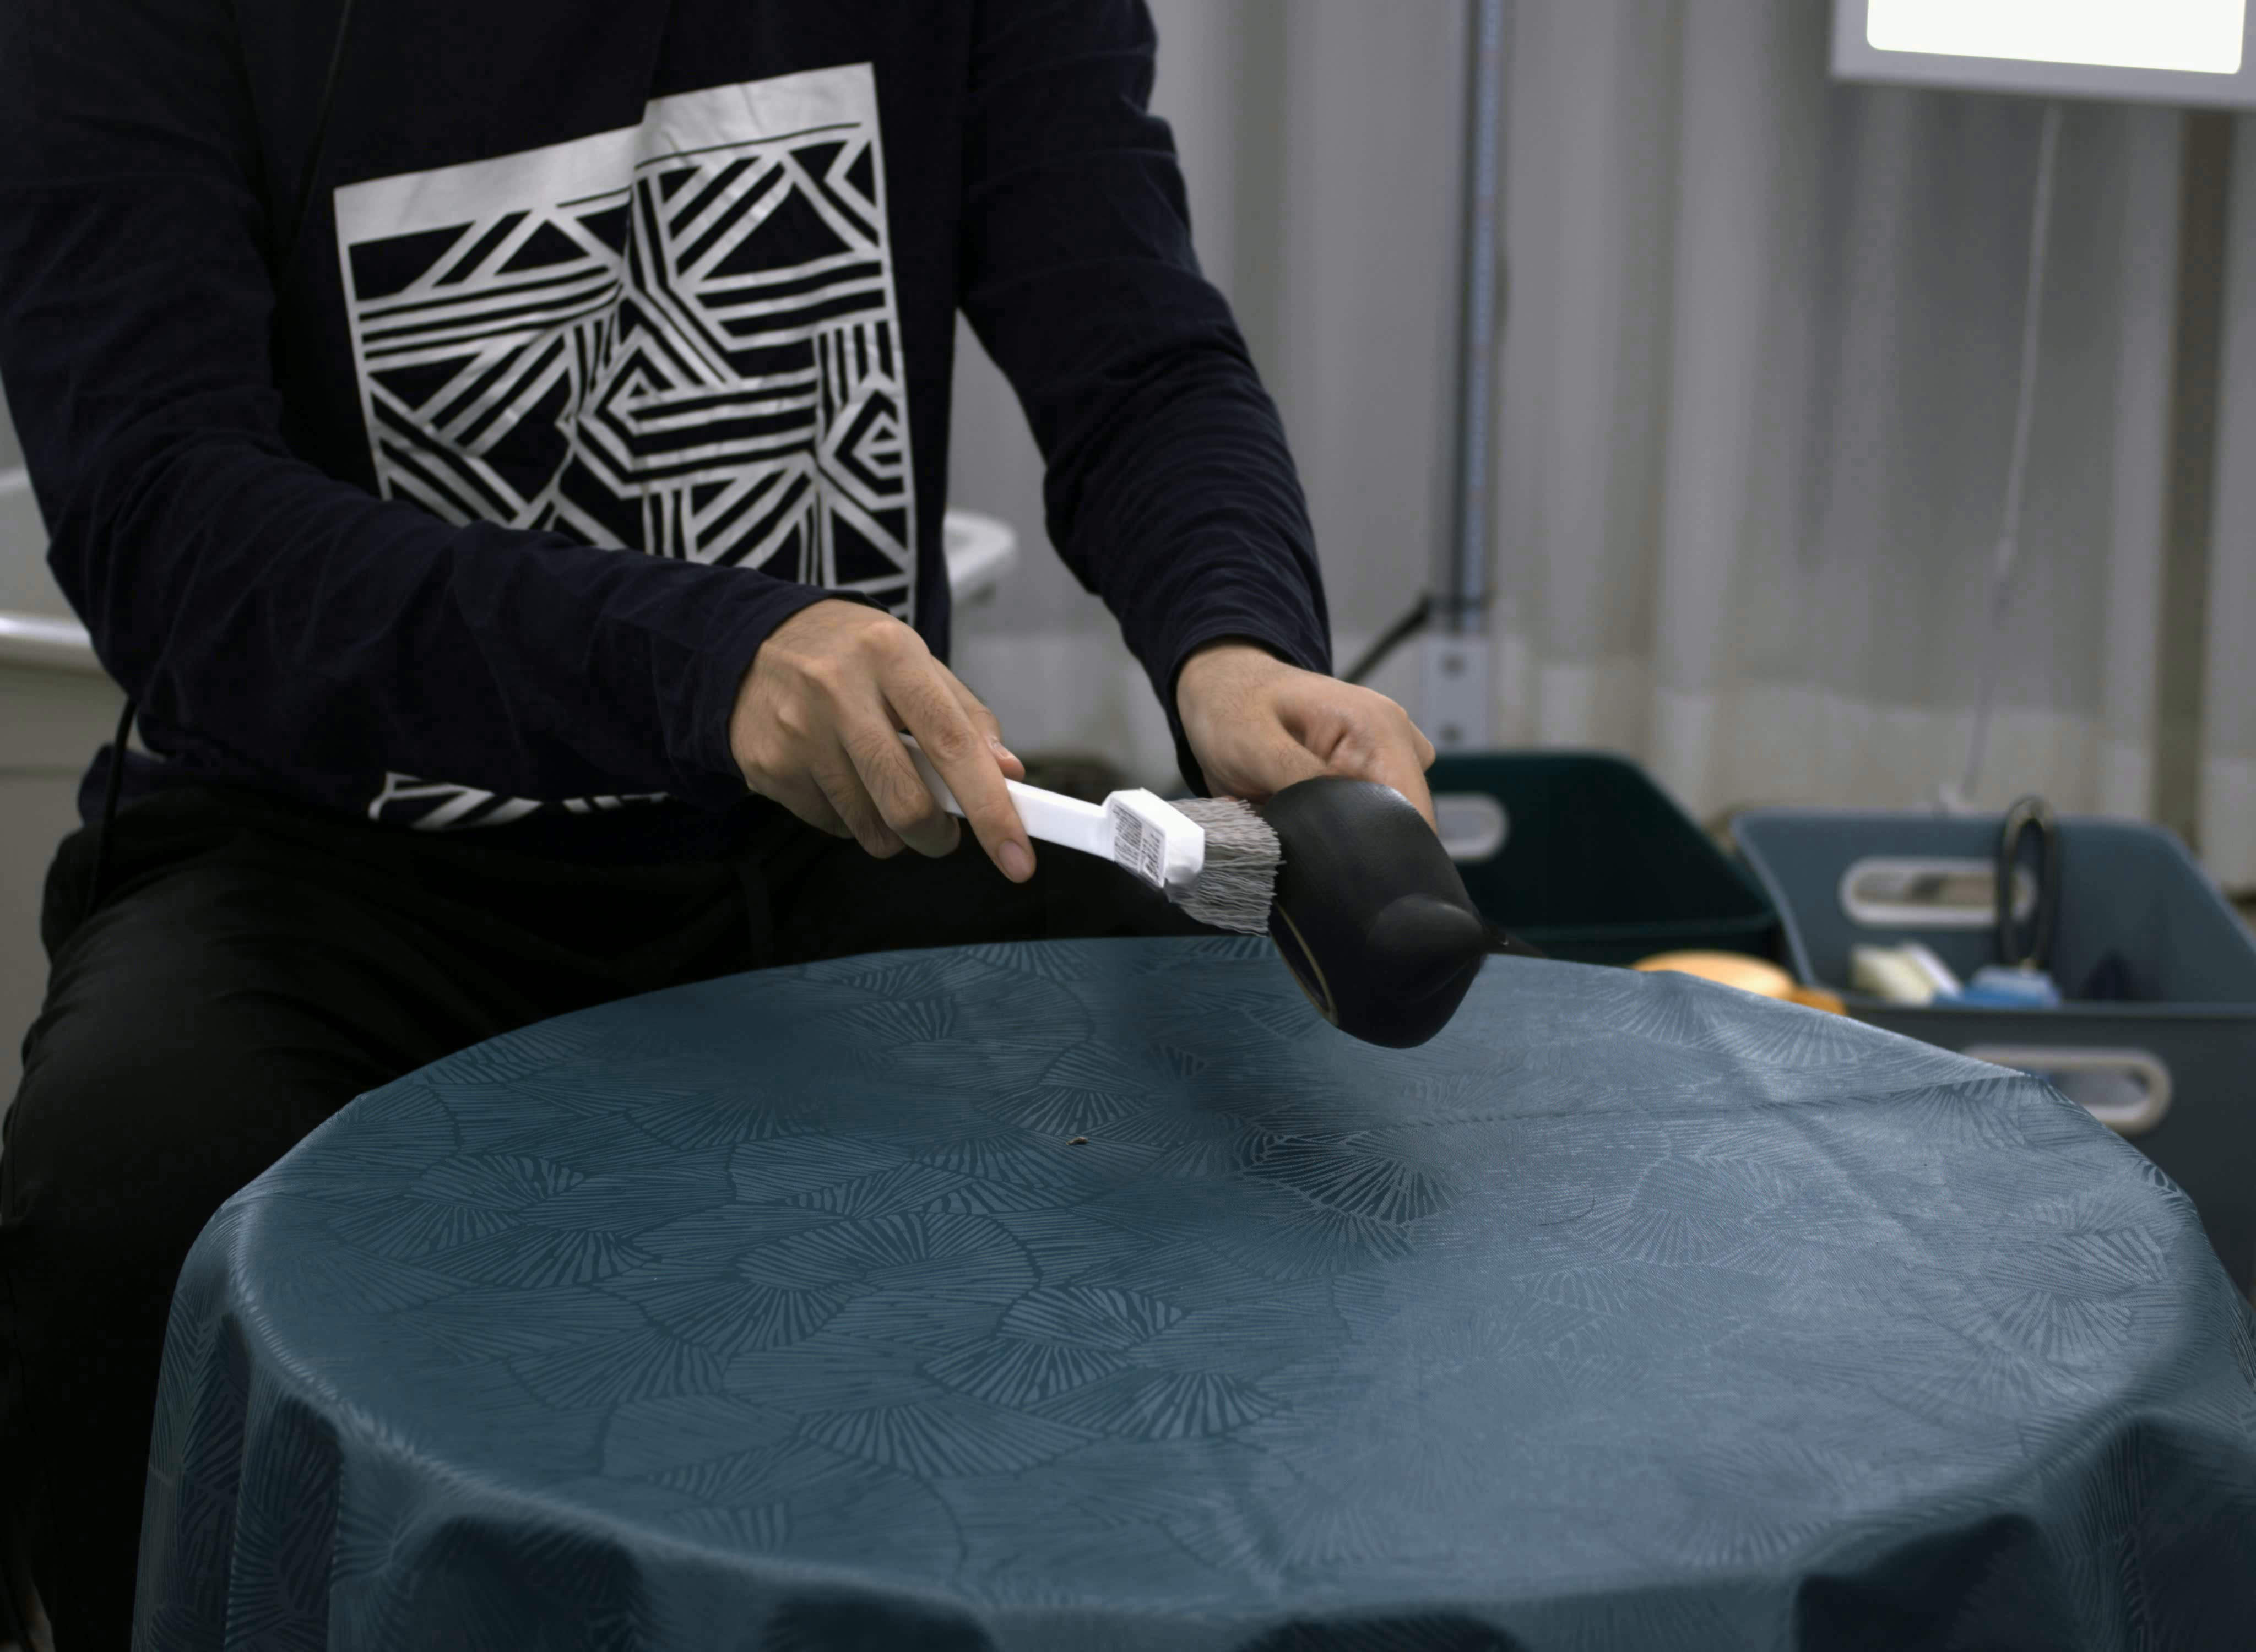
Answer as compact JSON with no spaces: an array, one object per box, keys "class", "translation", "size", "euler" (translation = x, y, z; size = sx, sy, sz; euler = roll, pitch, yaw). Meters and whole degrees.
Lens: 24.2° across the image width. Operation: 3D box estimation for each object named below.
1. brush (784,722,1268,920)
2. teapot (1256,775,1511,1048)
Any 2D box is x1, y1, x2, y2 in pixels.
[{"class":"brush","translation":[-0.033,-0.005,1.704],"size":[0.050,0.034,0.240],"euler":[-3,11,-35]},{"class":"teapot","translation":[0.074,0.025,1.642],"size":[0.053,0.092,0.131],"euler":[-27,24,-8]}]
